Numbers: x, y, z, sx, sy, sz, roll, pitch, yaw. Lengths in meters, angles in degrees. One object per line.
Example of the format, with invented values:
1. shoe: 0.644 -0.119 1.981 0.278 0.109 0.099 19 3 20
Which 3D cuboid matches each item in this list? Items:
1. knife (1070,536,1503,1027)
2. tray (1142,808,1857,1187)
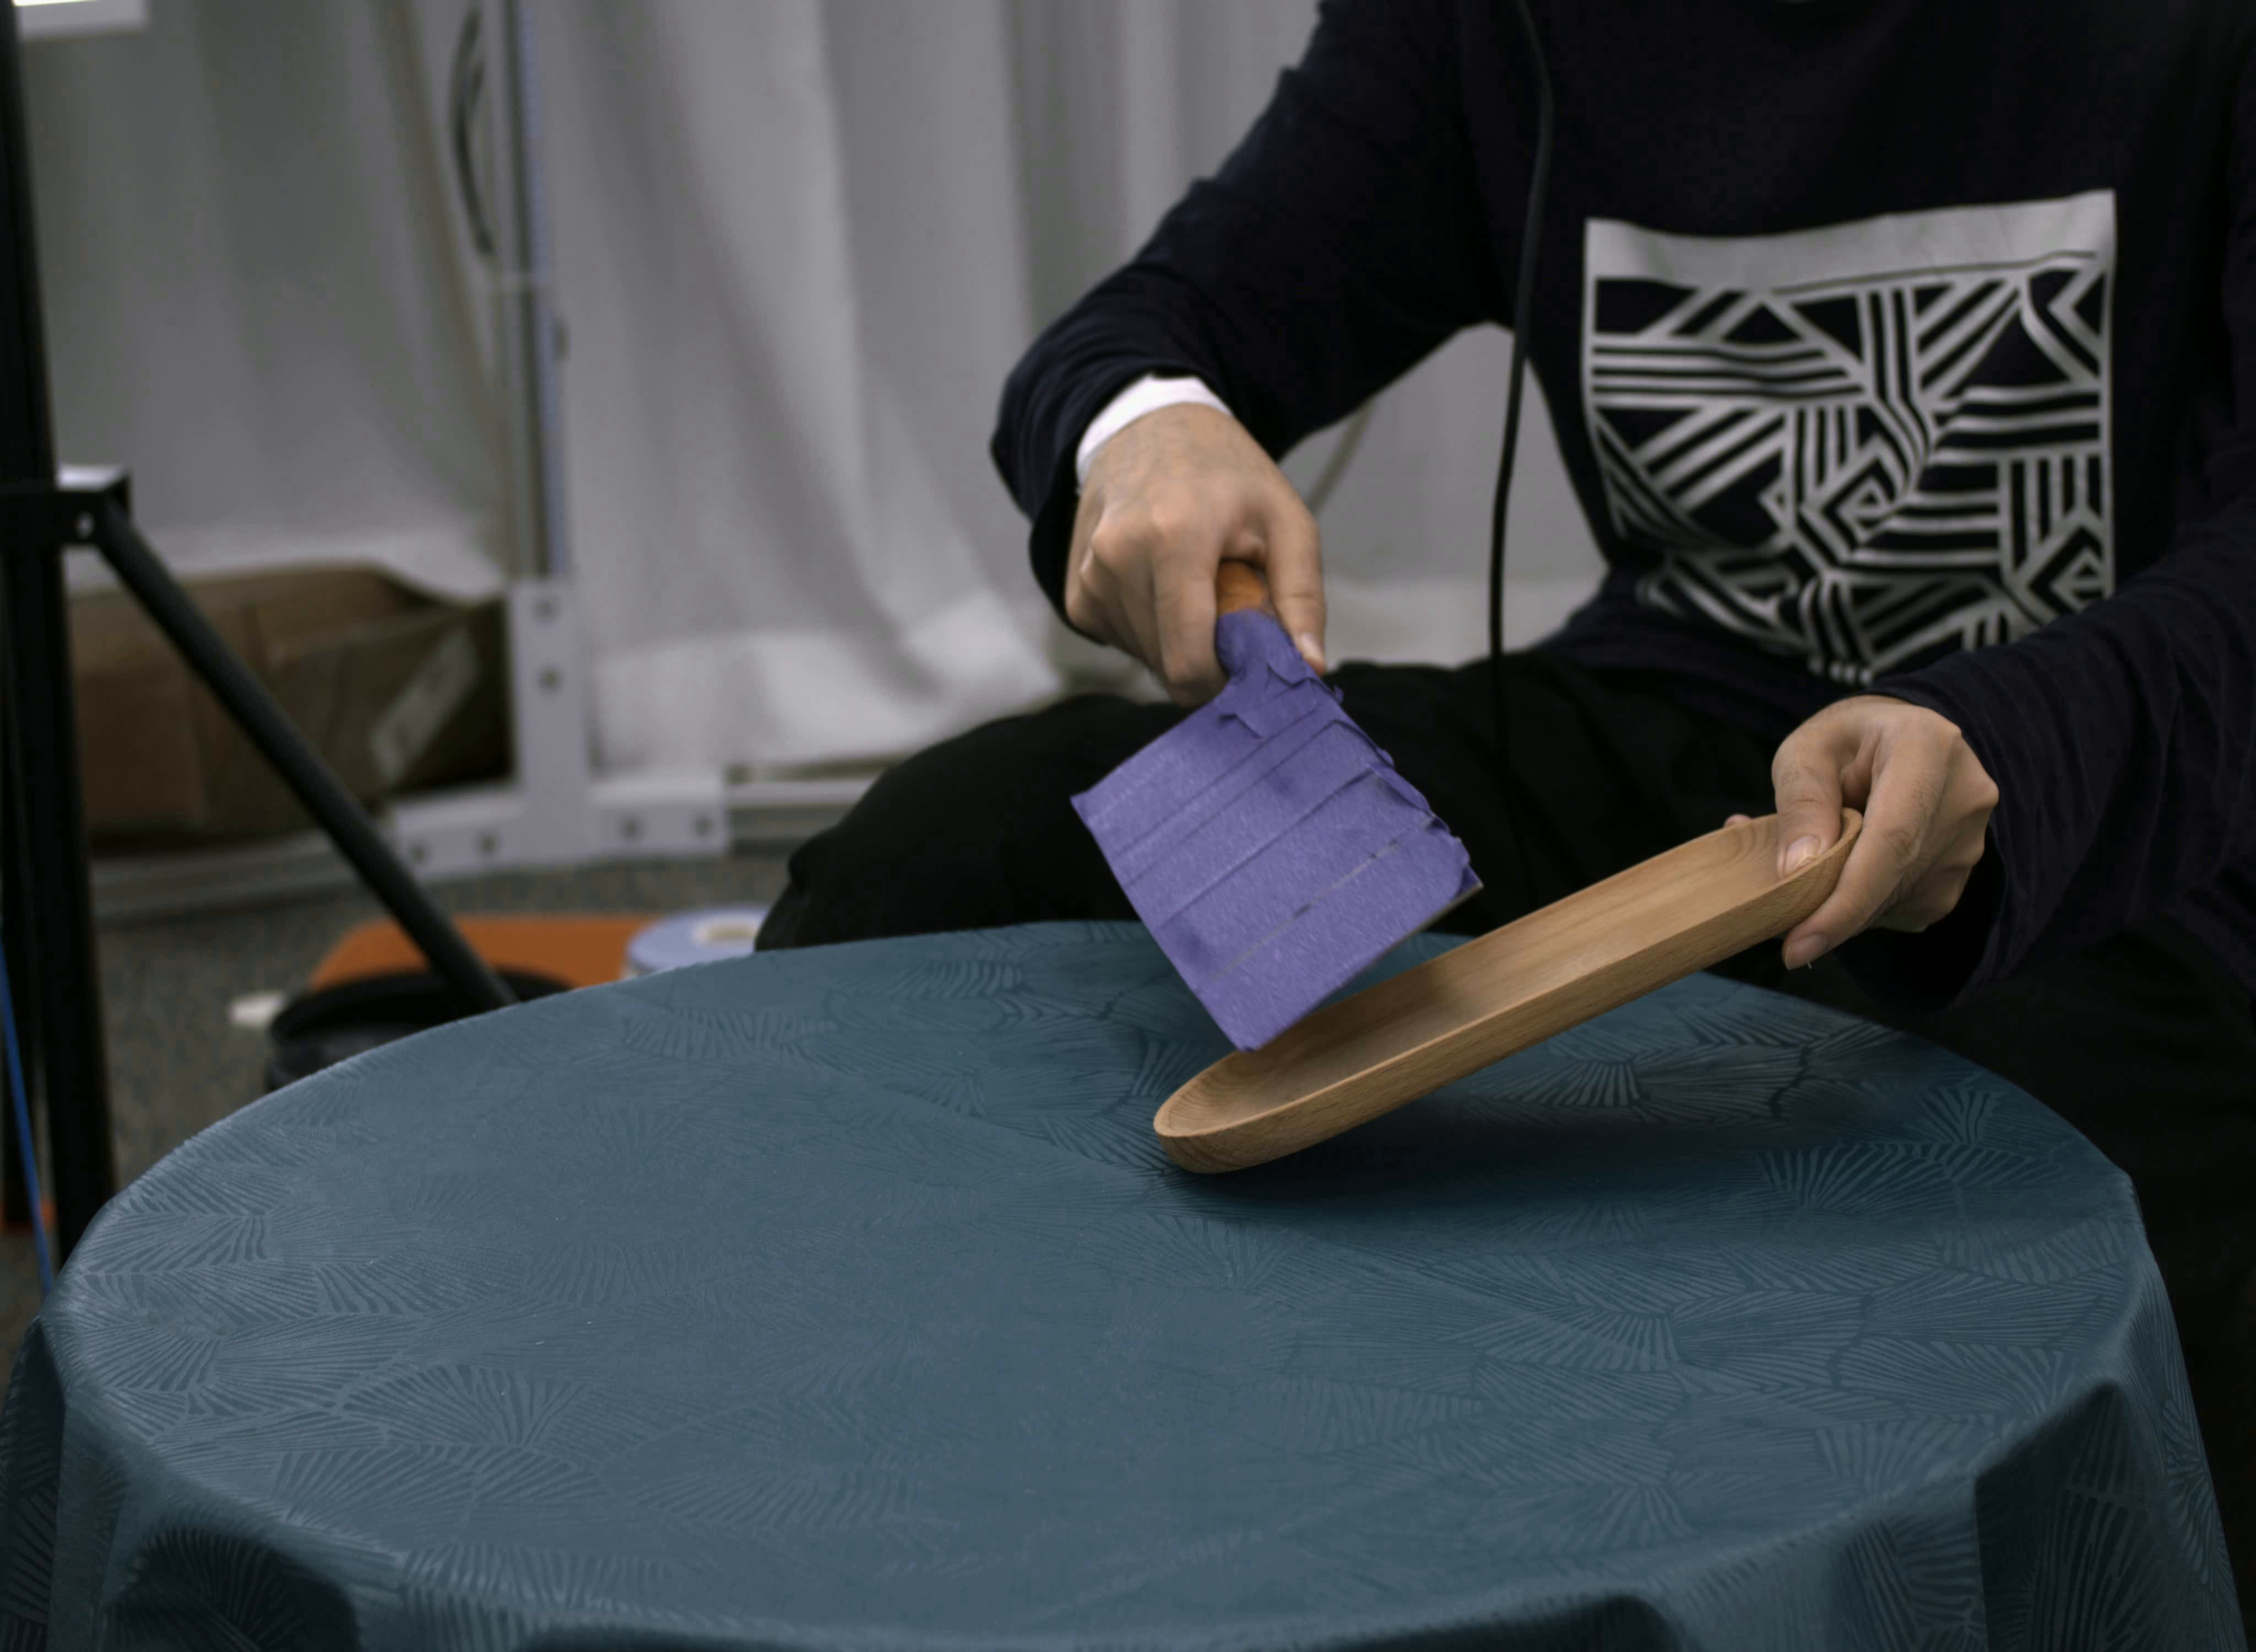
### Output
1. knife: 0.029 -0.019 1.697 0.103 0.032 0.320 -35 24 0
2. tray: 0.112 0.051 1.578 0.230 0.020 0.102 -27 10 -2
